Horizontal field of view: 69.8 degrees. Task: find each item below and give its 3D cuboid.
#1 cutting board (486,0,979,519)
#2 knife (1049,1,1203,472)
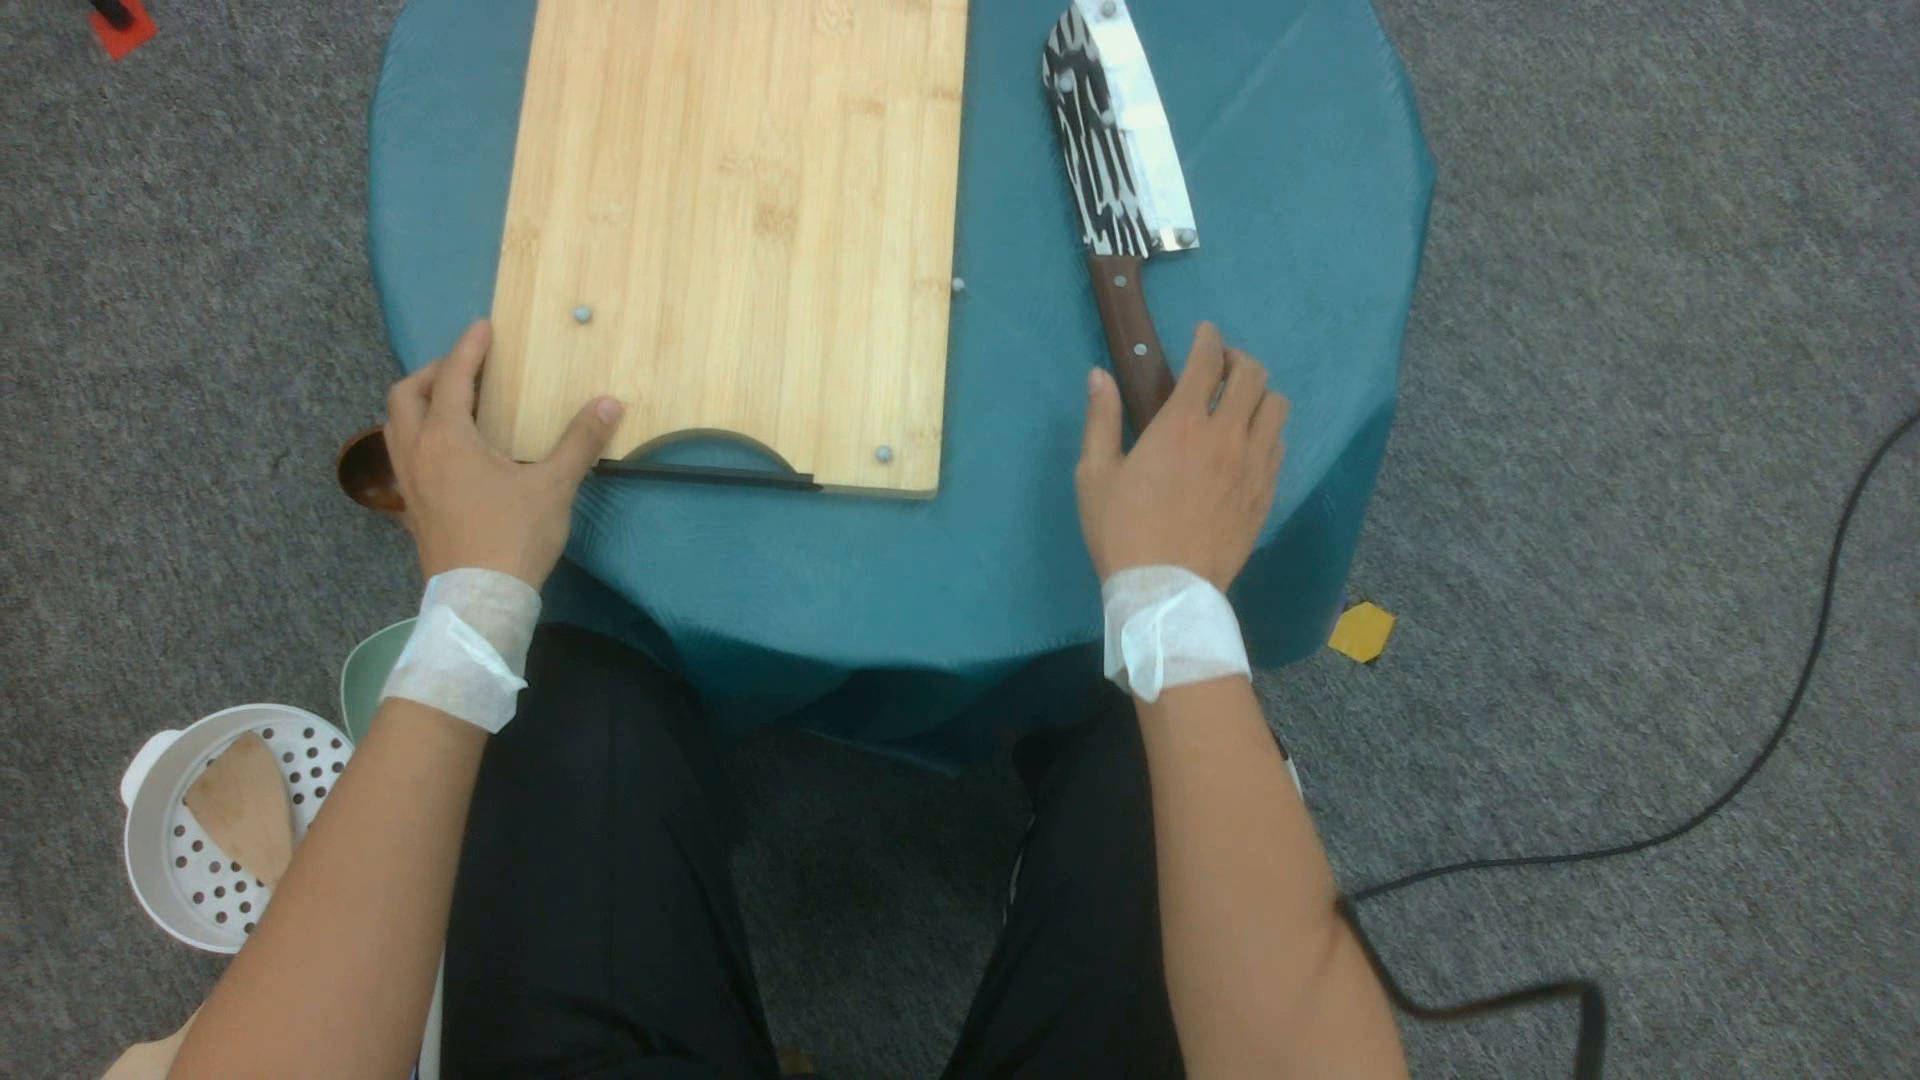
[{"bbox_3d":[-0.119,-0.187,0.779,0.251,0.023,0.349,3,75,-2],"label":"cutting board"},{"bbox_3d":[0.102,-0.183,0.790,0.068,0.024,0.300,-9,73,-7],"label":"knife"}]
